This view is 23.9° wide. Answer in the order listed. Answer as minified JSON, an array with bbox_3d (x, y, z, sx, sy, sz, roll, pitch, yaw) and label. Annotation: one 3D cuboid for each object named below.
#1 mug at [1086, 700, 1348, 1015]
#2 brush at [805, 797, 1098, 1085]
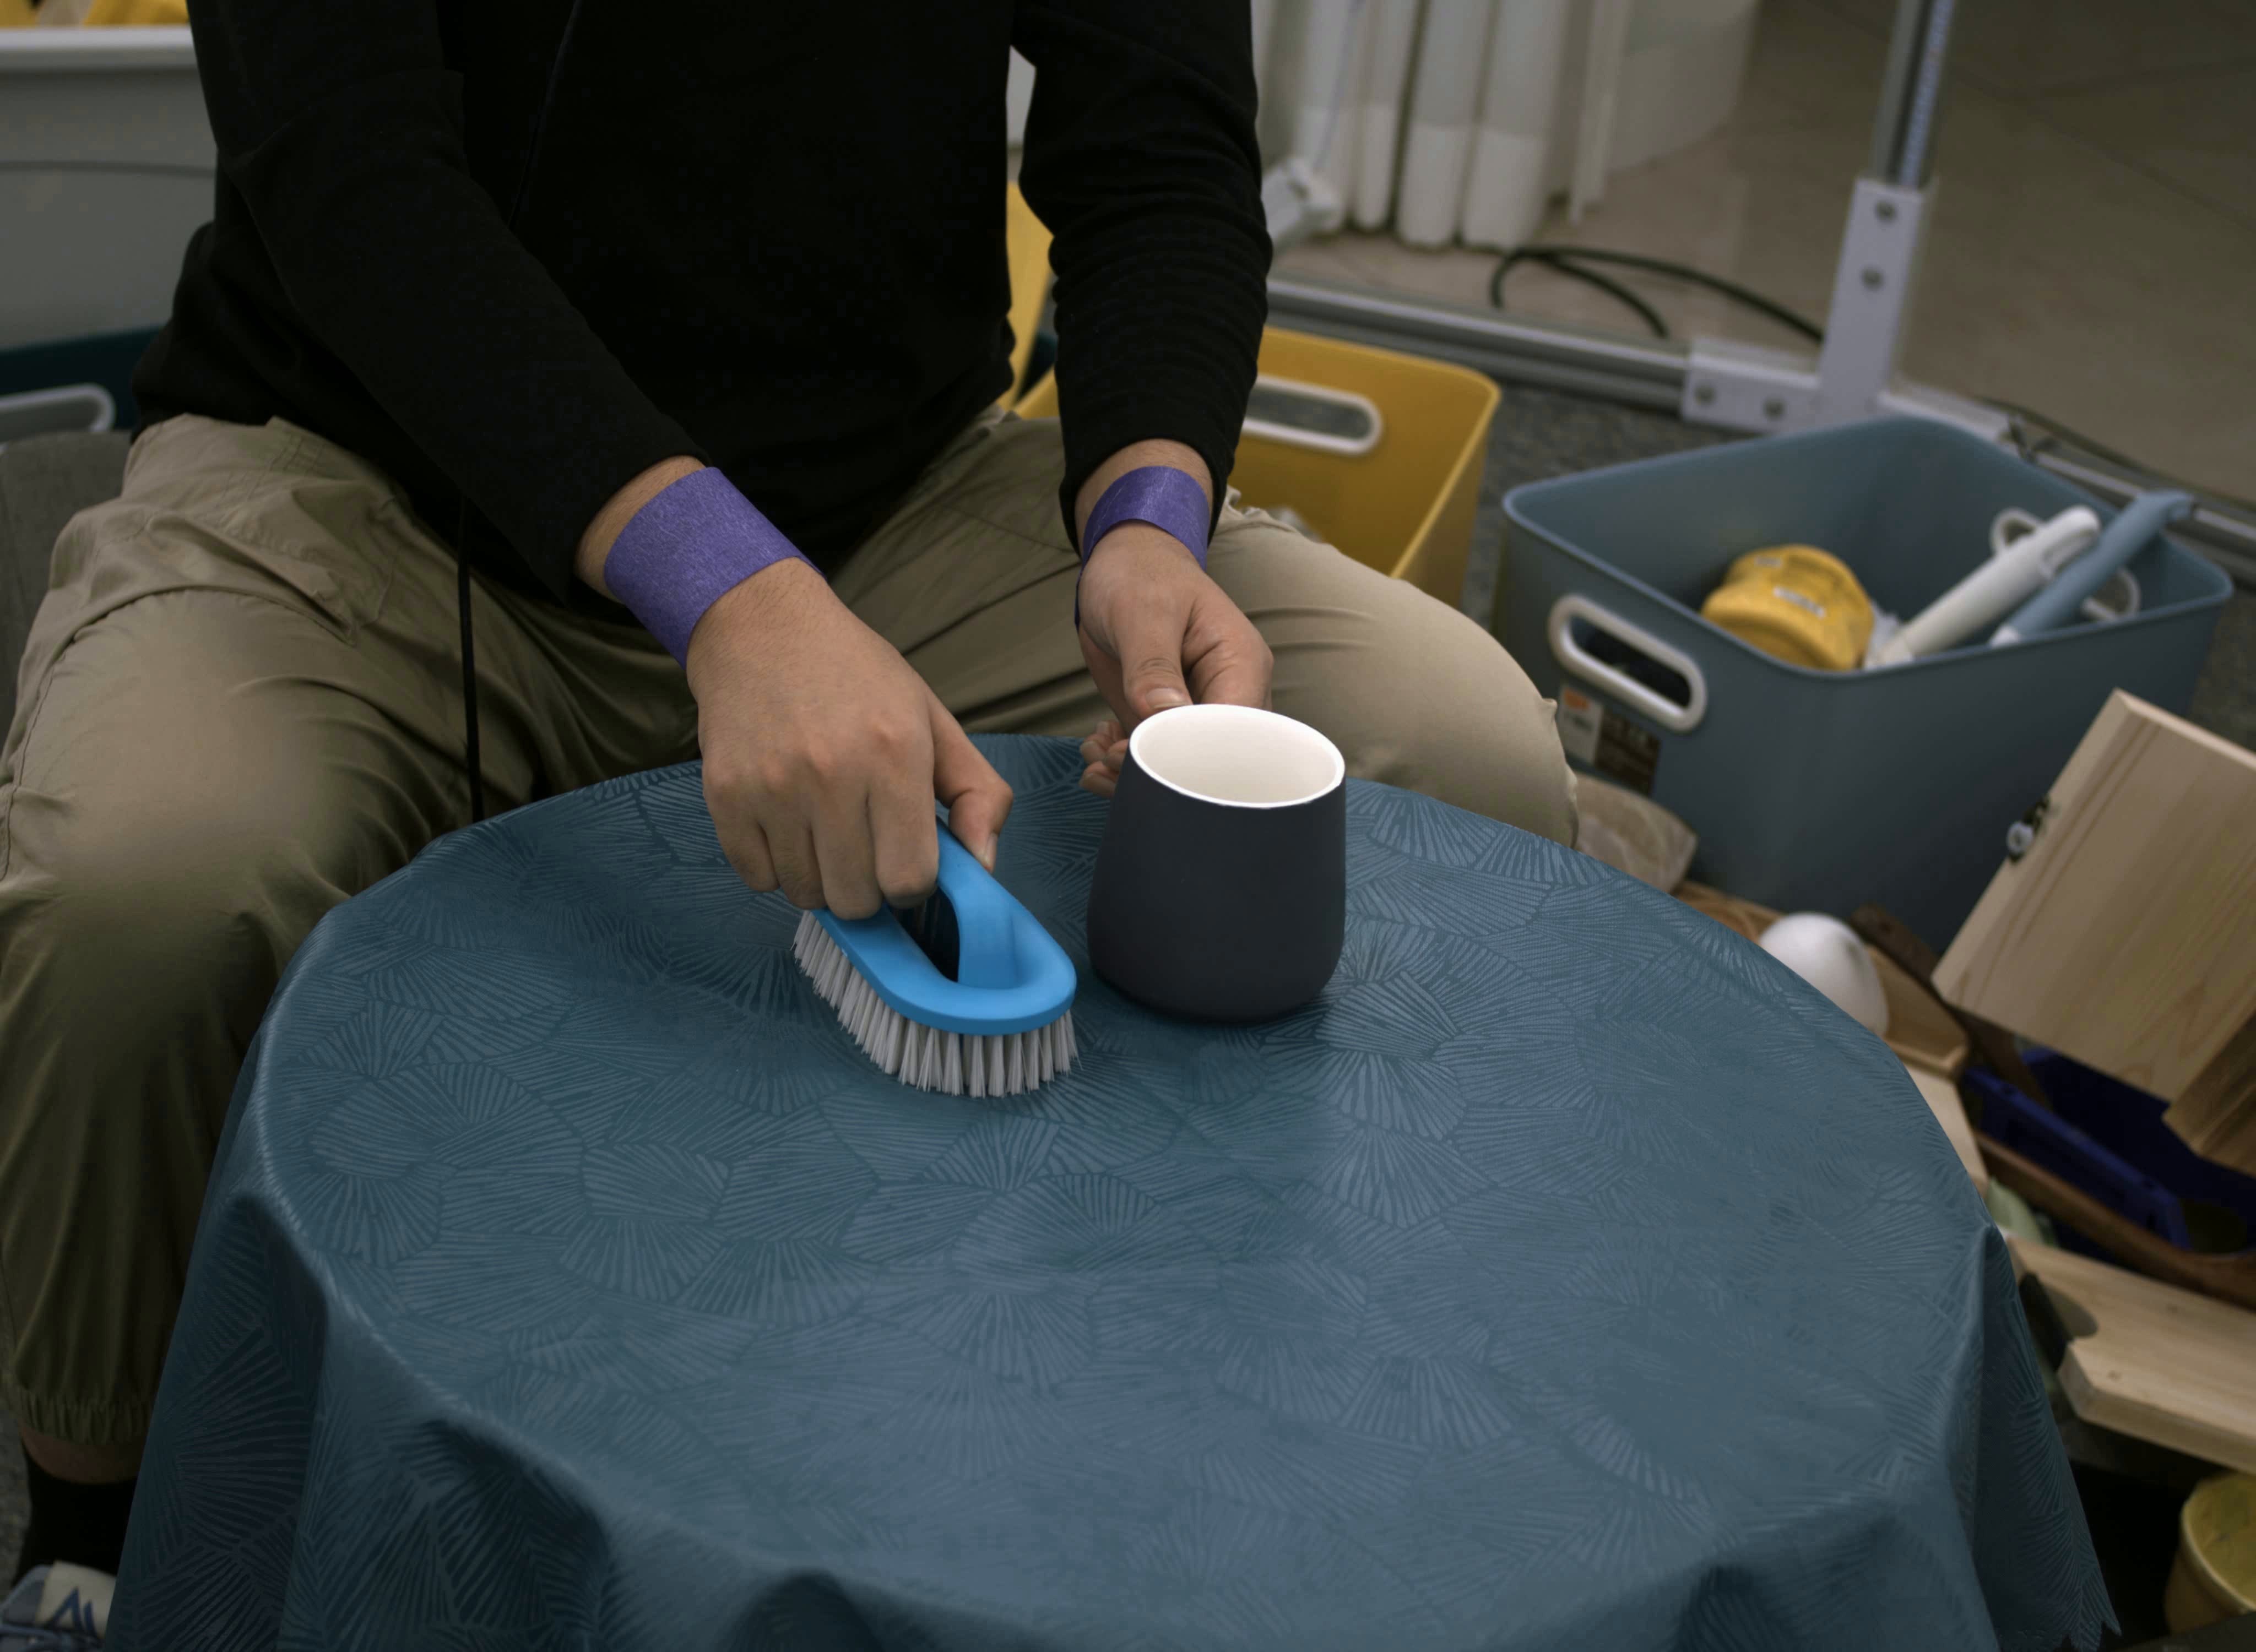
[{"bbox_3d":[0.030,0.005,1.937,0.093,0.089,0.124,-2,30,-19],"label":"mug"},{"bbox_3d":[-0.065,0.032,1.892,0.084,0.063,0.143,-10,31,-20],"label":"brush"}]
